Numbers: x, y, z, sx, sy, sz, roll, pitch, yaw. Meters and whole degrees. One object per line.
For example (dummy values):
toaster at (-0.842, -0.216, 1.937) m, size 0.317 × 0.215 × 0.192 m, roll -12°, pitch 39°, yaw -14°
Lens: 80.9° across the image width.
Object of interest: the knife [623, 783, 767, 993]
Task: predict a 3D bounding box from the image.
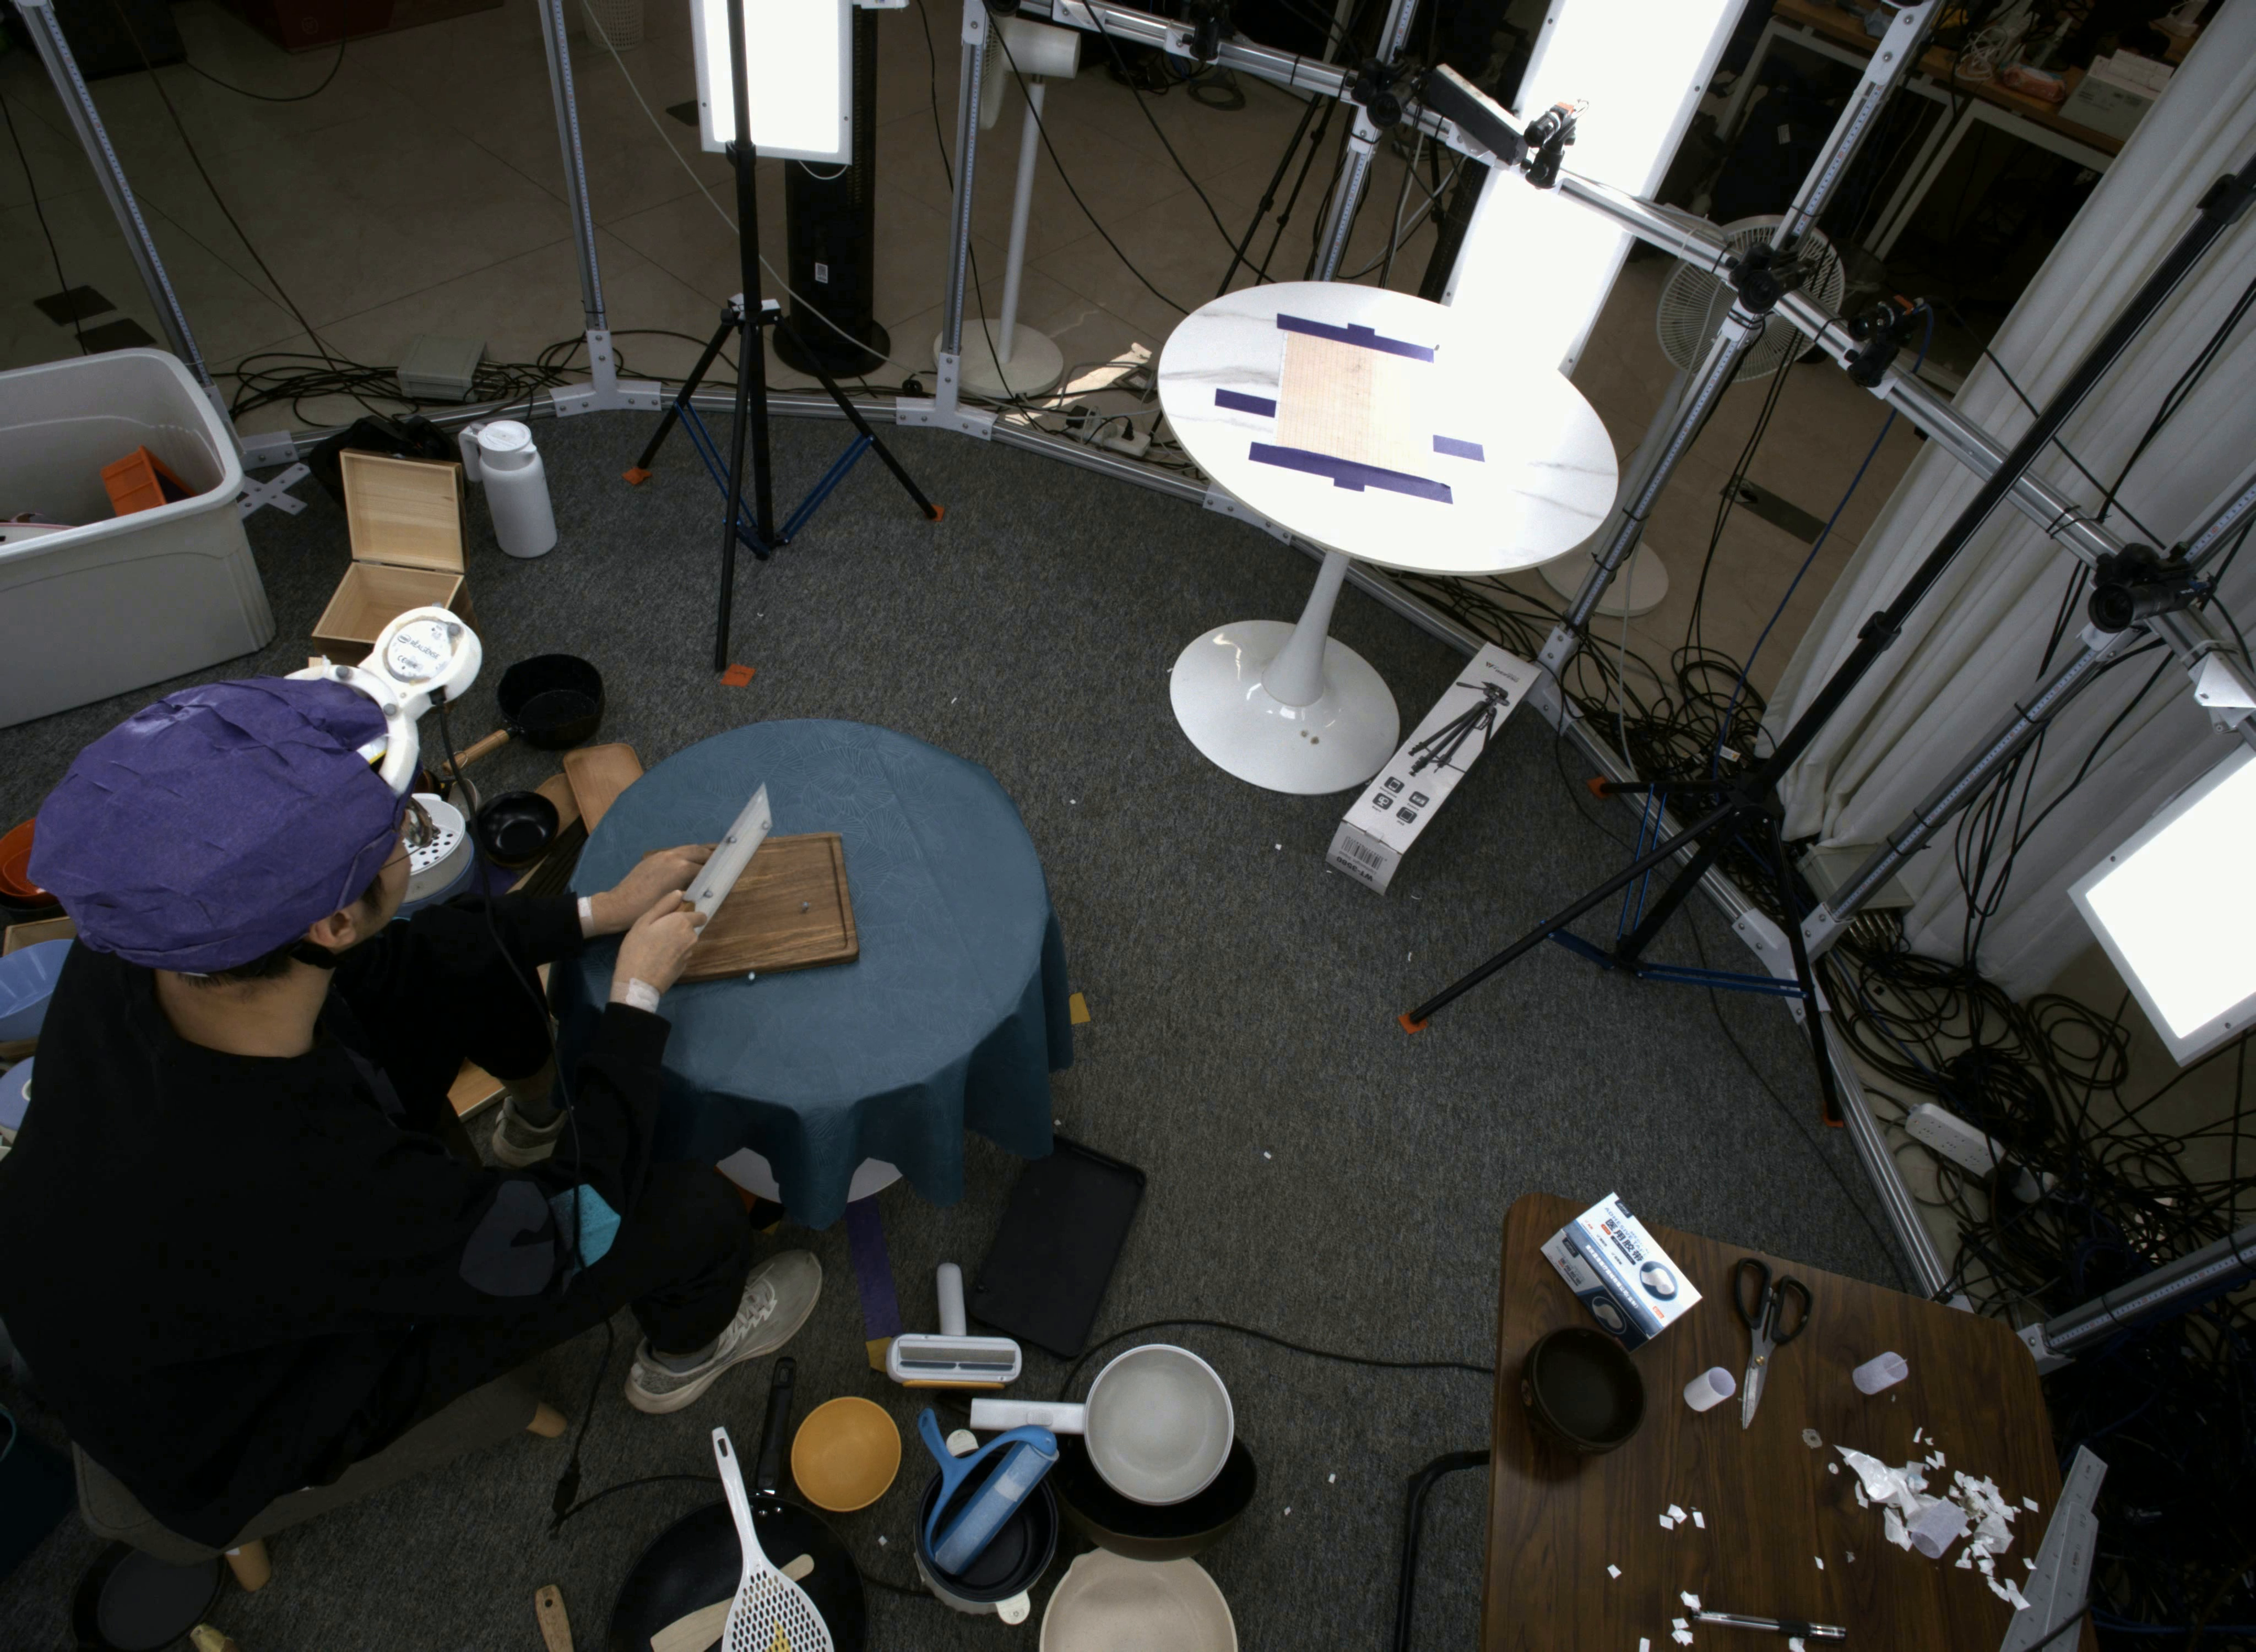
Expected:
knife at (-0.500, 0.080, 1.513) m, size 0.020 × 0.095 × 0.303 m, roll 18°, pitch 52°, yaw 8°

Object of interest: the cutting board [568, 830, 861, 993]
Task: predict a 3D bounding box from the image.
cutting board at (-0.519, 0.105, 1.596) m, size 0.354 × 0.023 × 0.196 m, roll -7°, pitch 56°, yaw -20°
